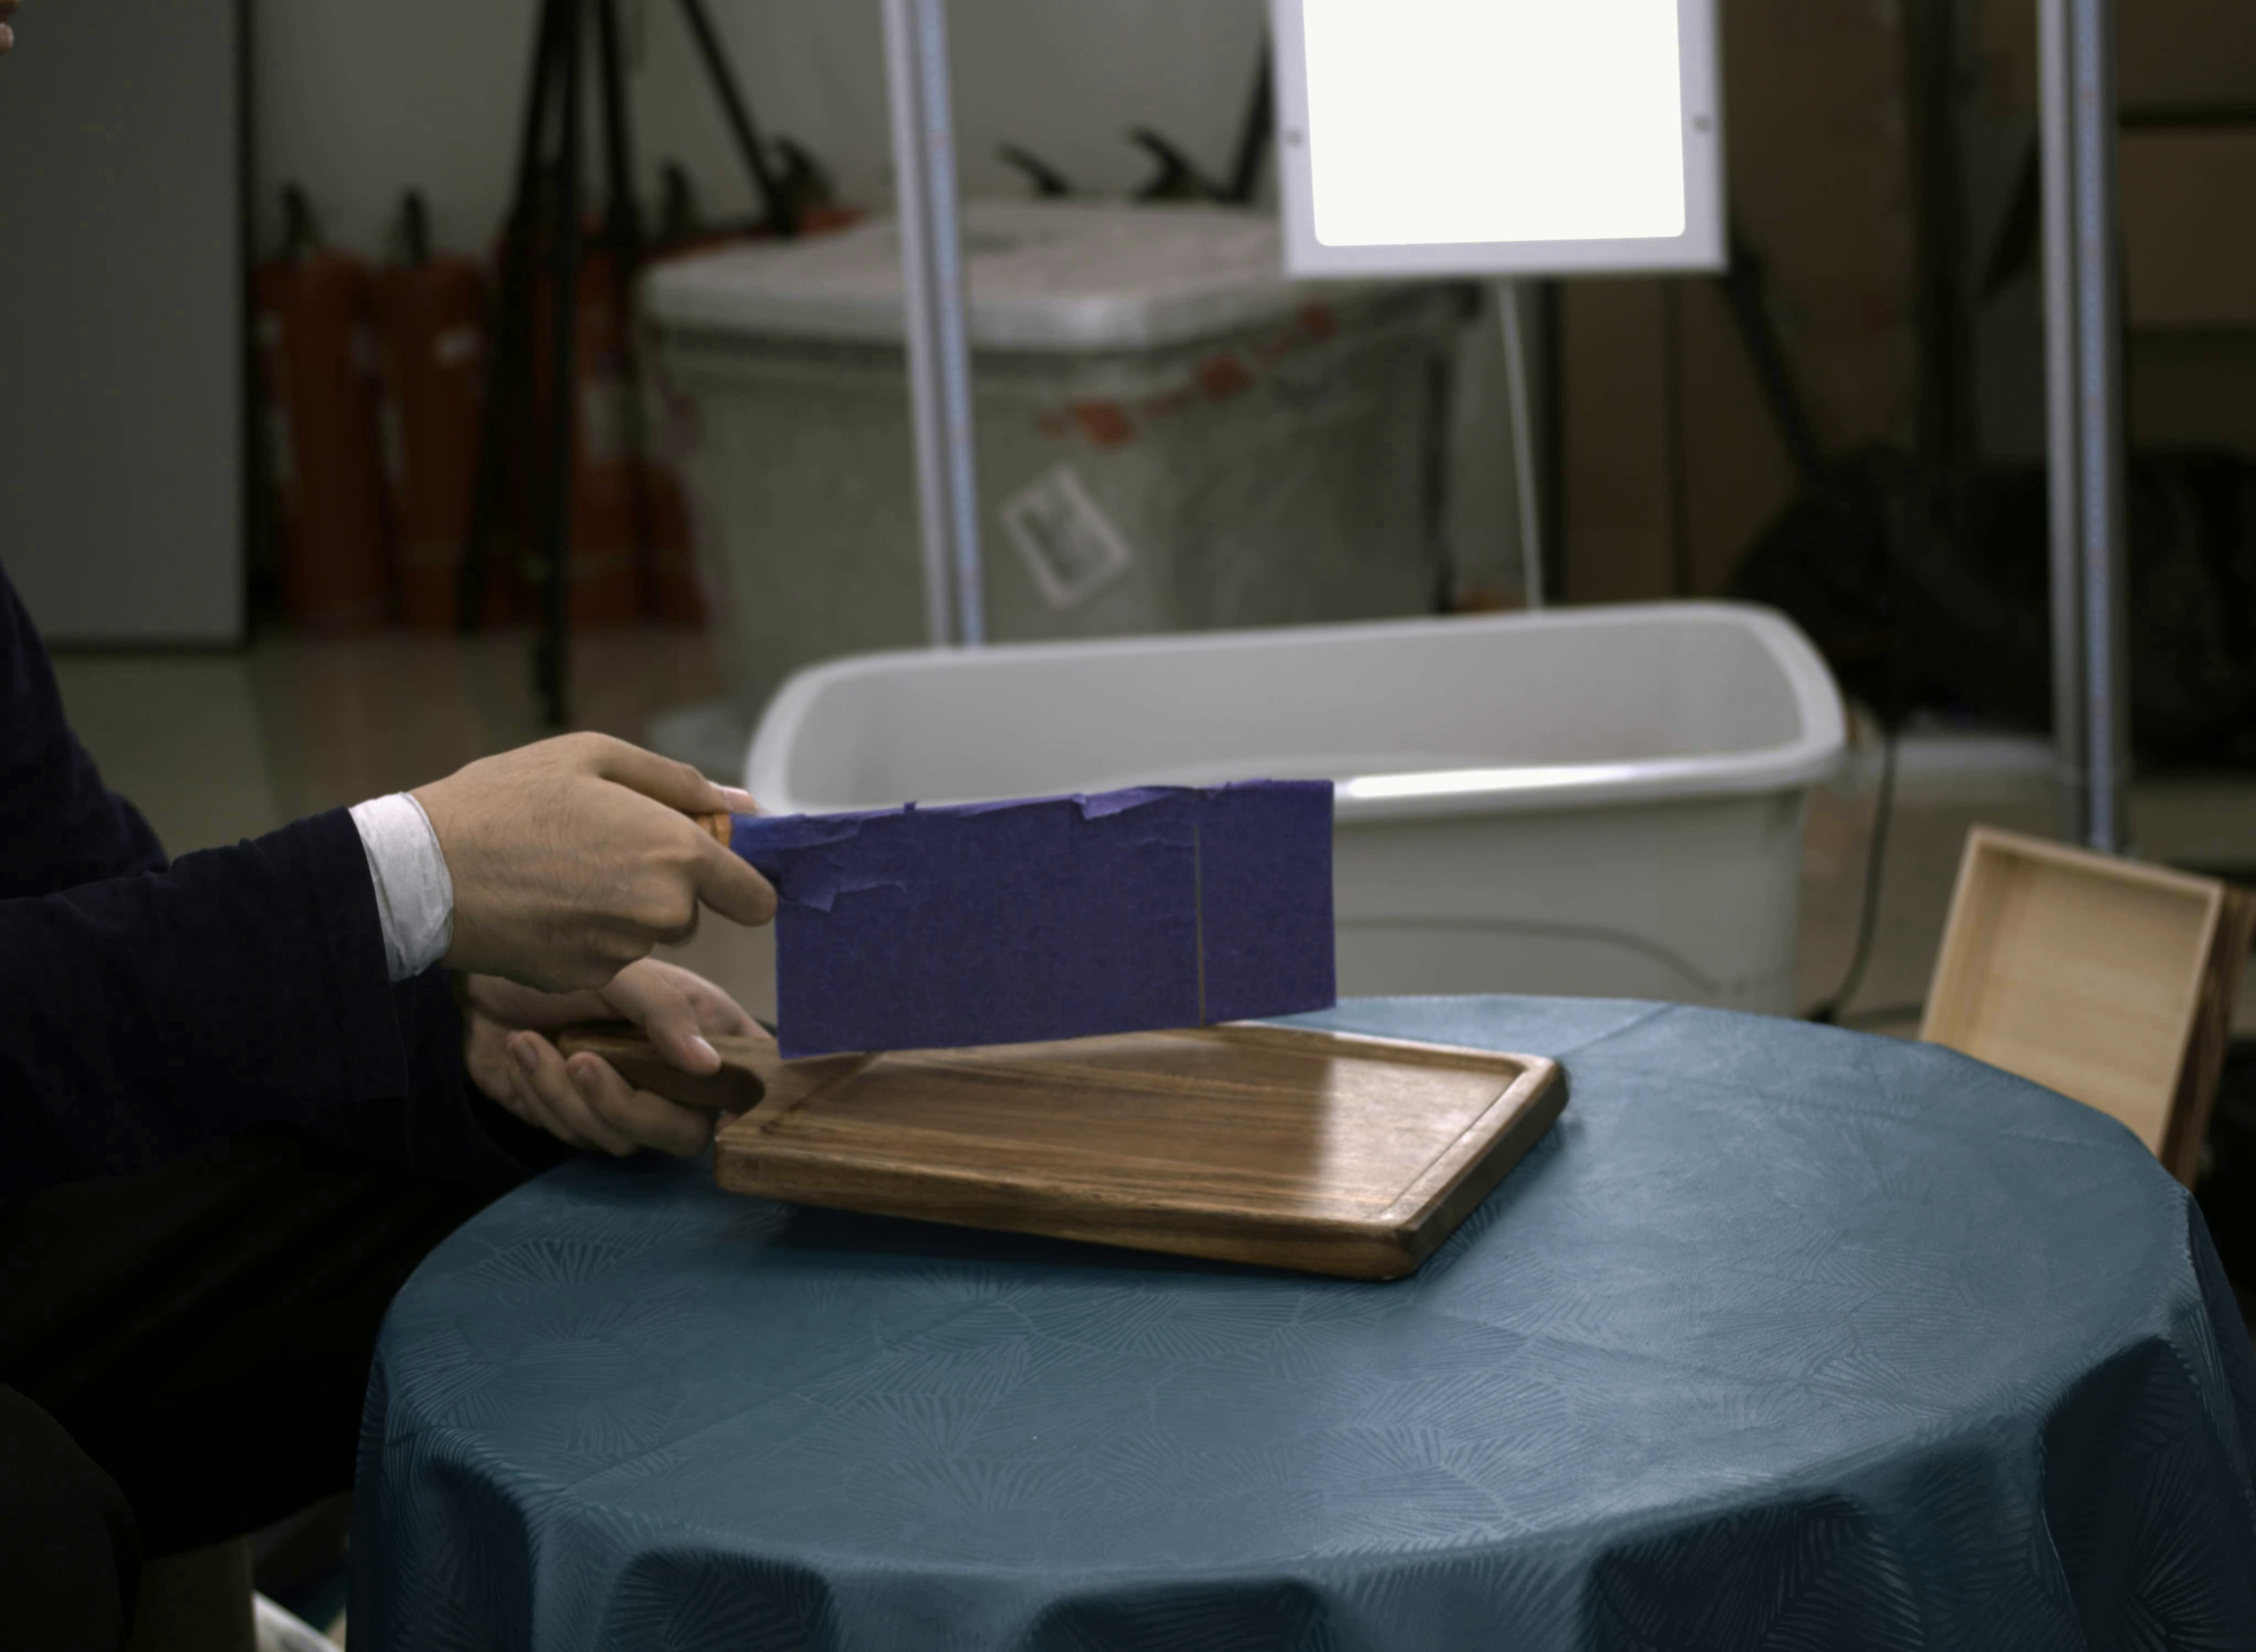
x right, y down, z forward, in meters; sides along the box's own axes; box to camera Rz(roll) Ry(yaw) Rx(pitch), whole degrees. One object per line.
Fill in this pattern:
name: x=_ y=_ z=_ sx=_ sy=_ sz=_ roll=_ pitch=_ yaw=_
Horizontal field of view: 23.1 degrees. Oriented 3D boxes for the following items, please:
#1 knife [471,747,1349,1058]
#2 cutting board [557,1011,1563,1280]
knife: x=-0.072 y=0.035 z=1.943 sx=0.312 sy=0.104 sz=0.032 roll=-5 pitch=17 yaw=-9
cutting board: x=-0.039 y=0.098 z=1.928 sx=0.357 sy=0.023 sz=0.197 roll=6 pitch=17 yaw=22
